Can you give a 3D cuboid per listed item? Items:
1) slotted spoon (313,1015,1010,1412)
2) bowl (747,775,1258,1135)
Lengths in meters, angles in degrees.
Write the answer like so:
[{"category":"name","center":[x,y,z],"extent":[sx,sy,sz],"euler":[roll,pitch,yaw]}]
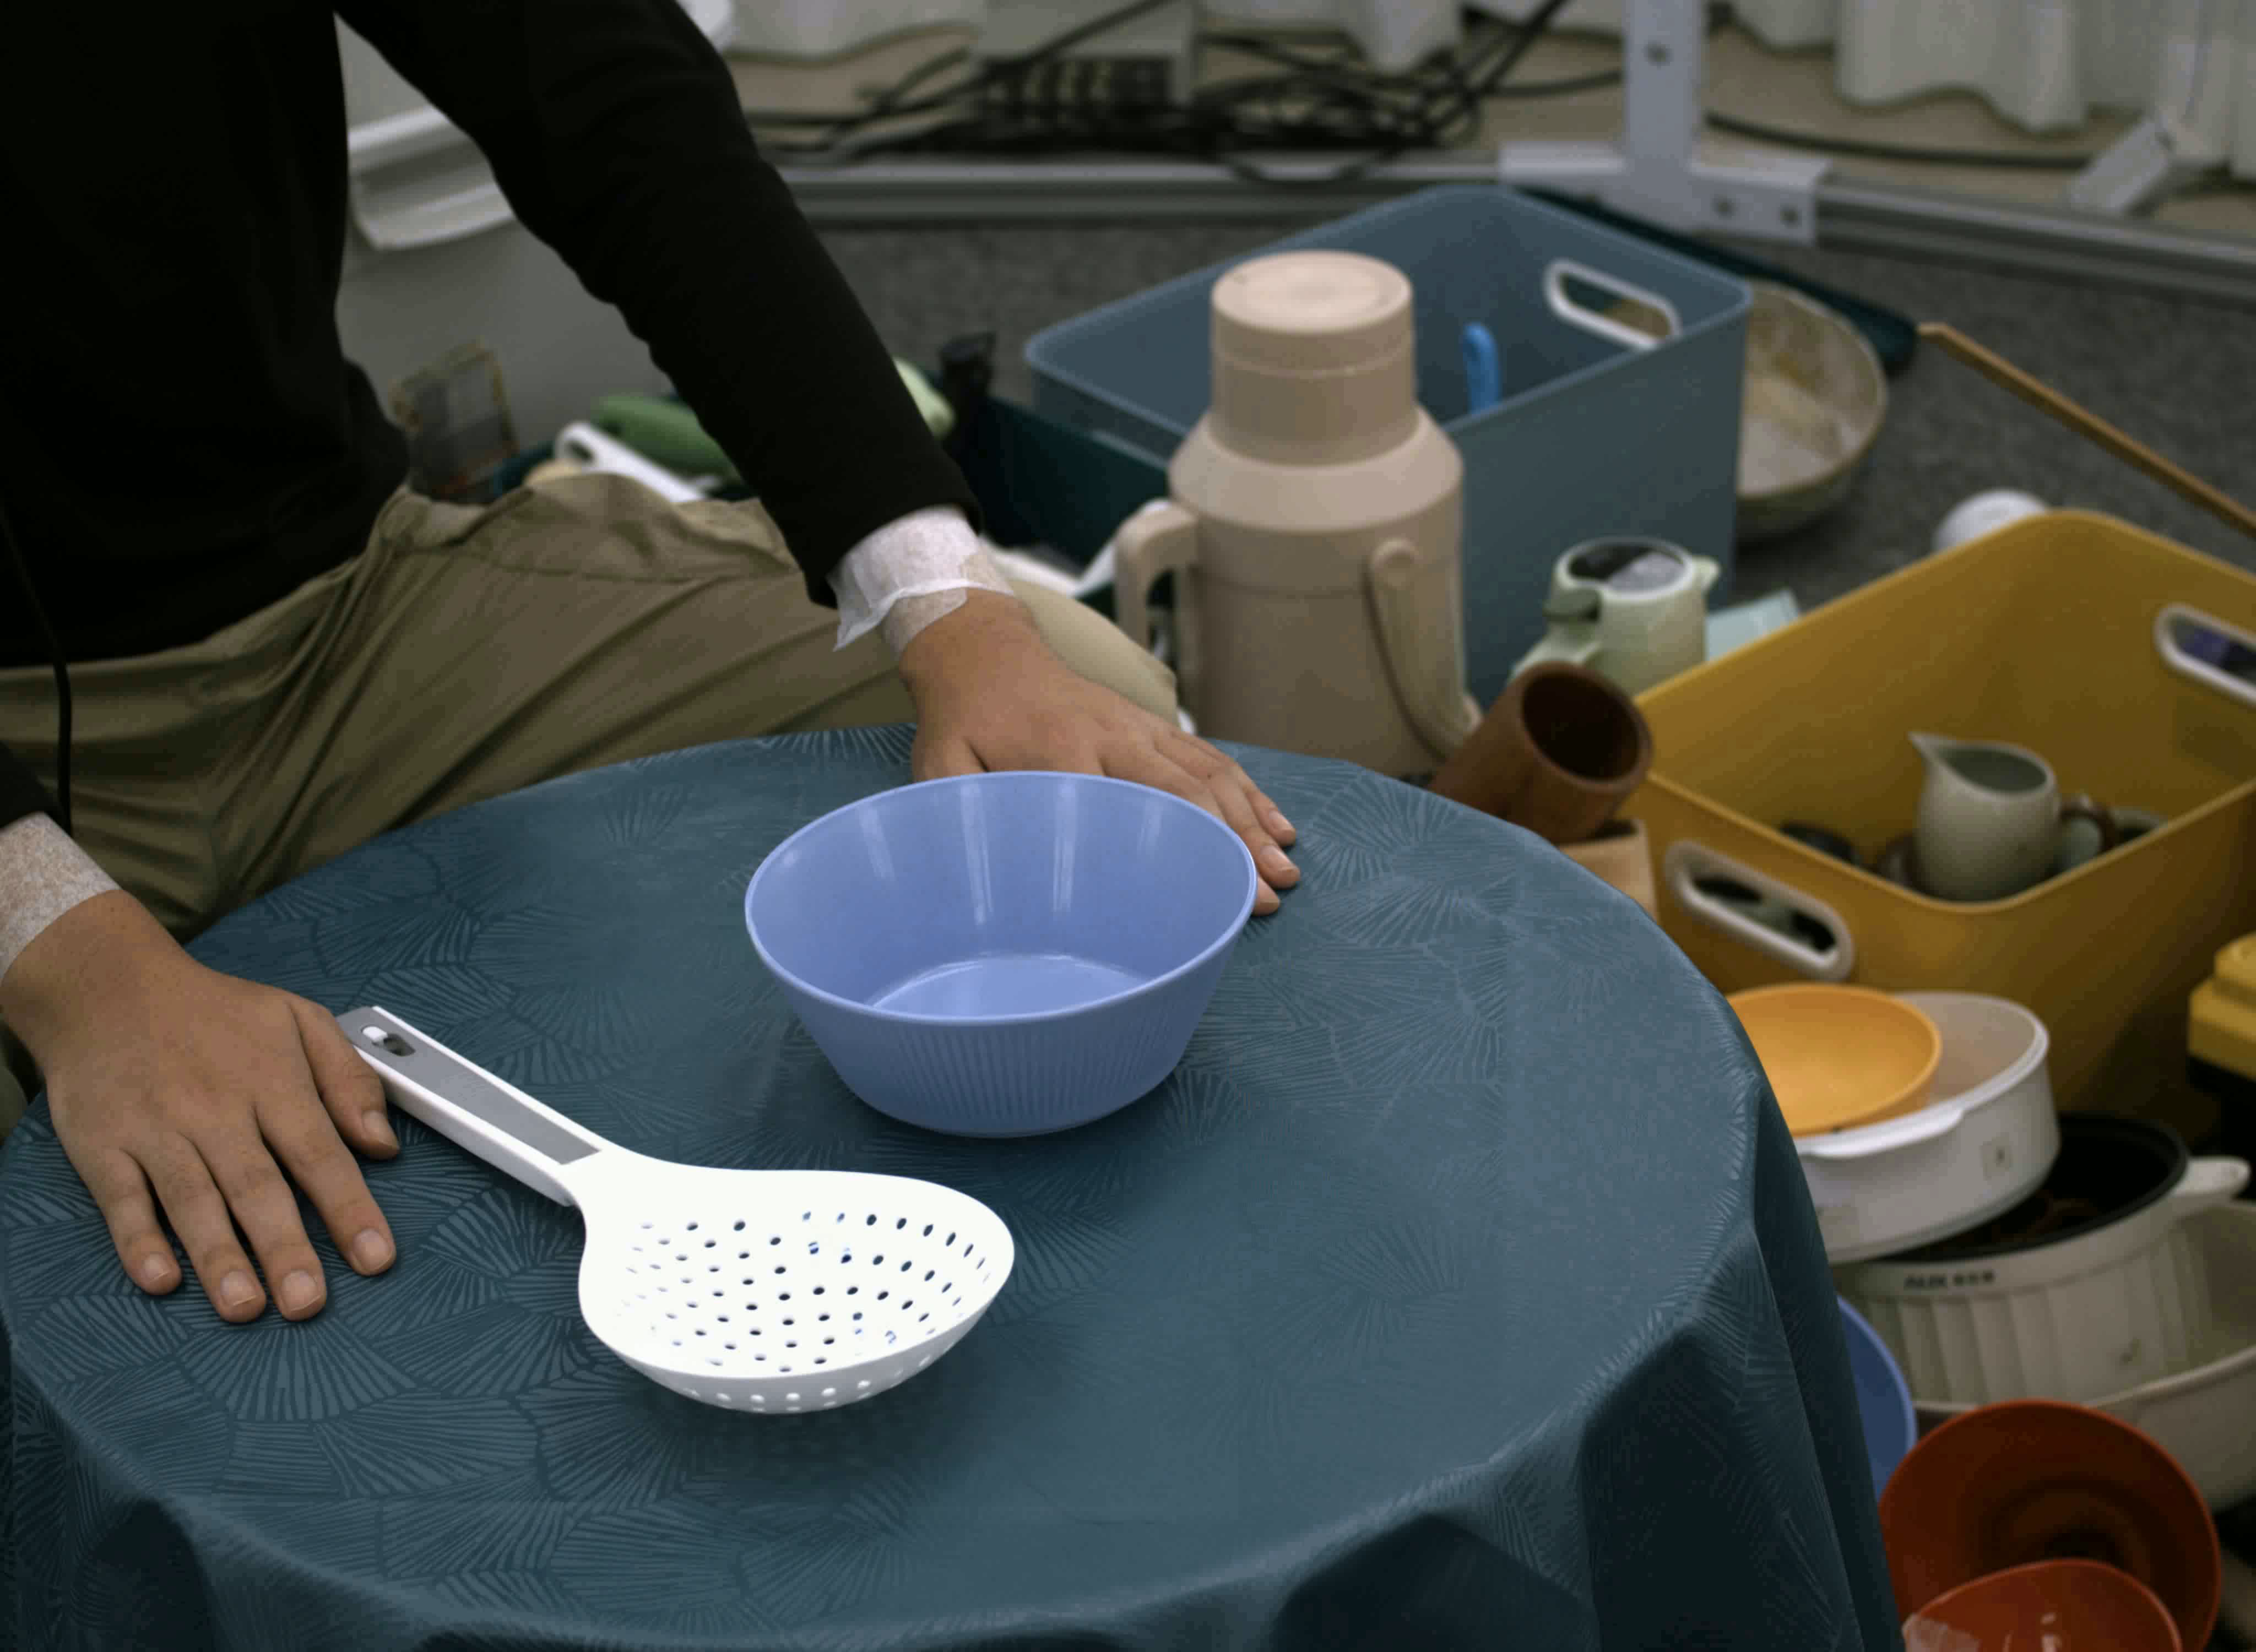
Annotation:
[{"category":"slotted spoon","center":[-0.169,0.119,1.835],"extent":[0.137,0.045,0.350],"euler":[-22,32,-33]},{"category":"bowl","center":[-0.042,0.050,1.929],"extent":[0.175,0.069,0.178],"euler":[-2,26,1]}]
